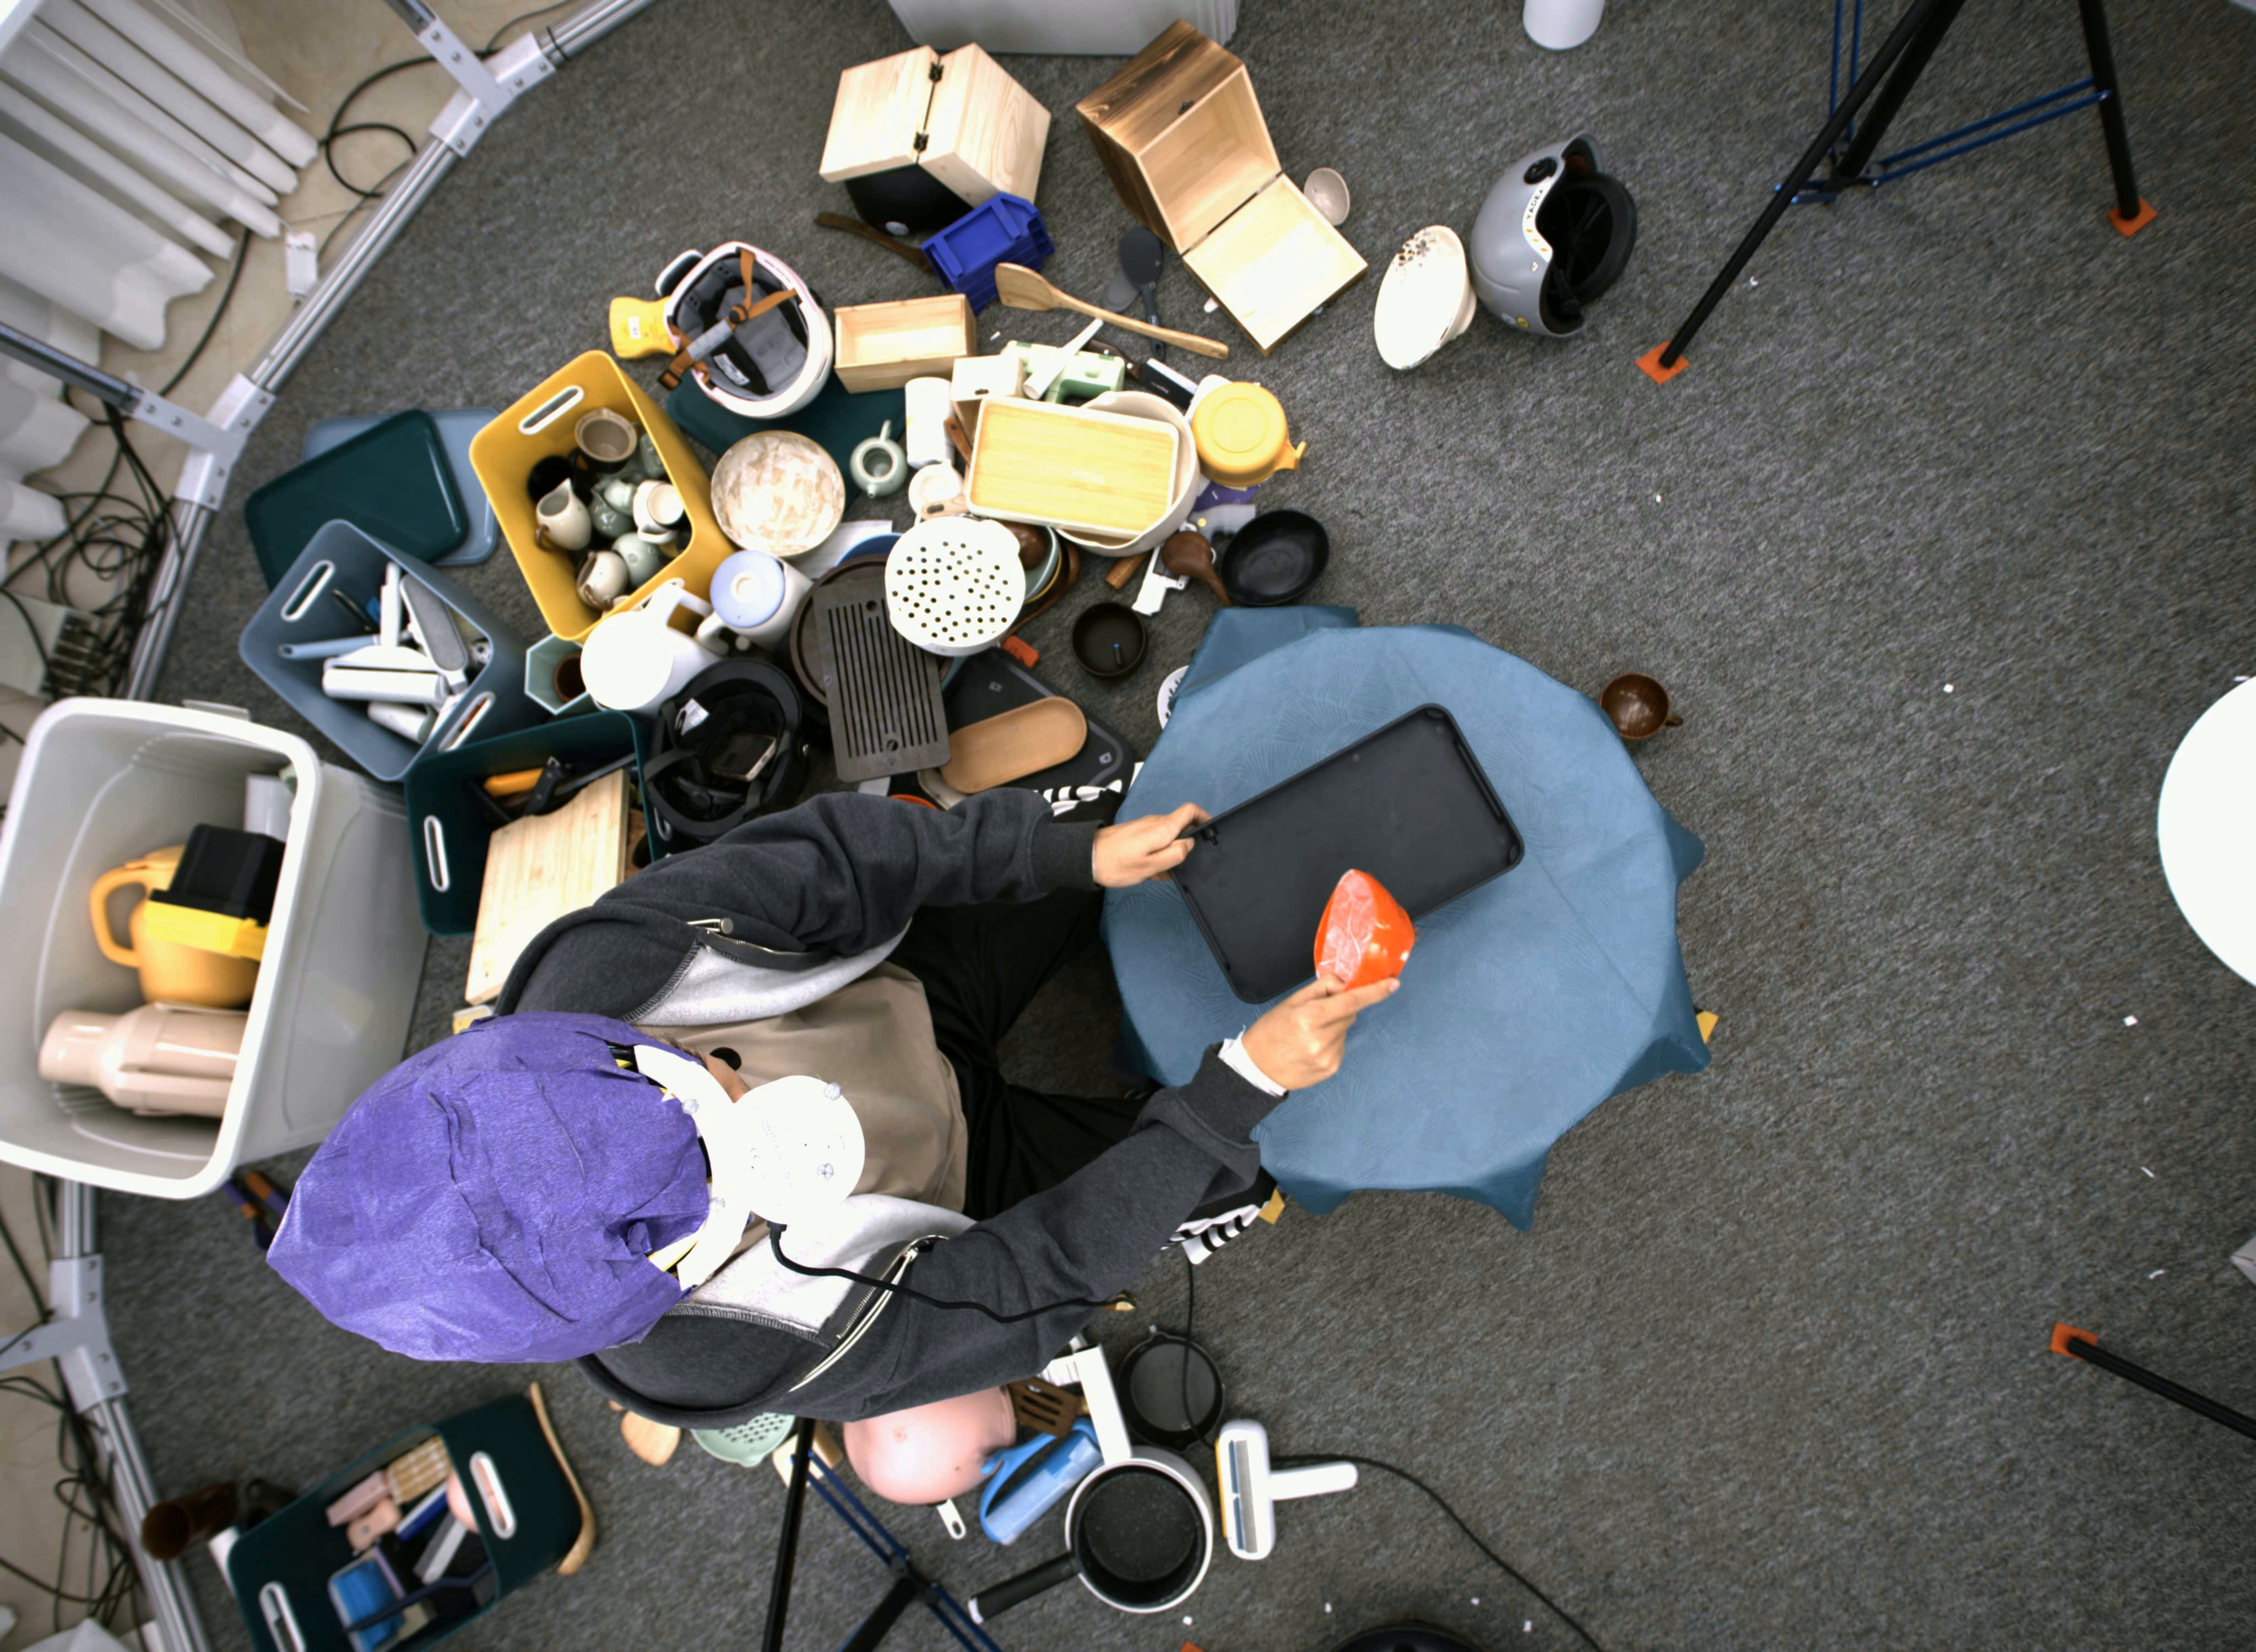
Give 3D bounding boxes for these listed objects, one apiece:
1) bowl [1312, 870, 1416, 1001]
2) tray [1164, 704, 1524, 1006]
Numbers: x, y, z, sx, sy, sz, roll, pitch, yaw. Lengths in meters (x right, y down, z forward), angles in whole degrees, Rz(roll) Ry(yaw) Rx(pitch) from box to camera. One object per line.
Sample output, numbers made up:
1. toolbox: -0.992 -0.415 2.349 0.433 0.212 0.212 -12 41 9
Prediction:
1. bowl: 0.214 0.101 1.230 0.051 0.119 0.118 14 87 -18
2. tray: 0.211 0.028 1.361 0.319 0.037 0.183 -29 85 3
